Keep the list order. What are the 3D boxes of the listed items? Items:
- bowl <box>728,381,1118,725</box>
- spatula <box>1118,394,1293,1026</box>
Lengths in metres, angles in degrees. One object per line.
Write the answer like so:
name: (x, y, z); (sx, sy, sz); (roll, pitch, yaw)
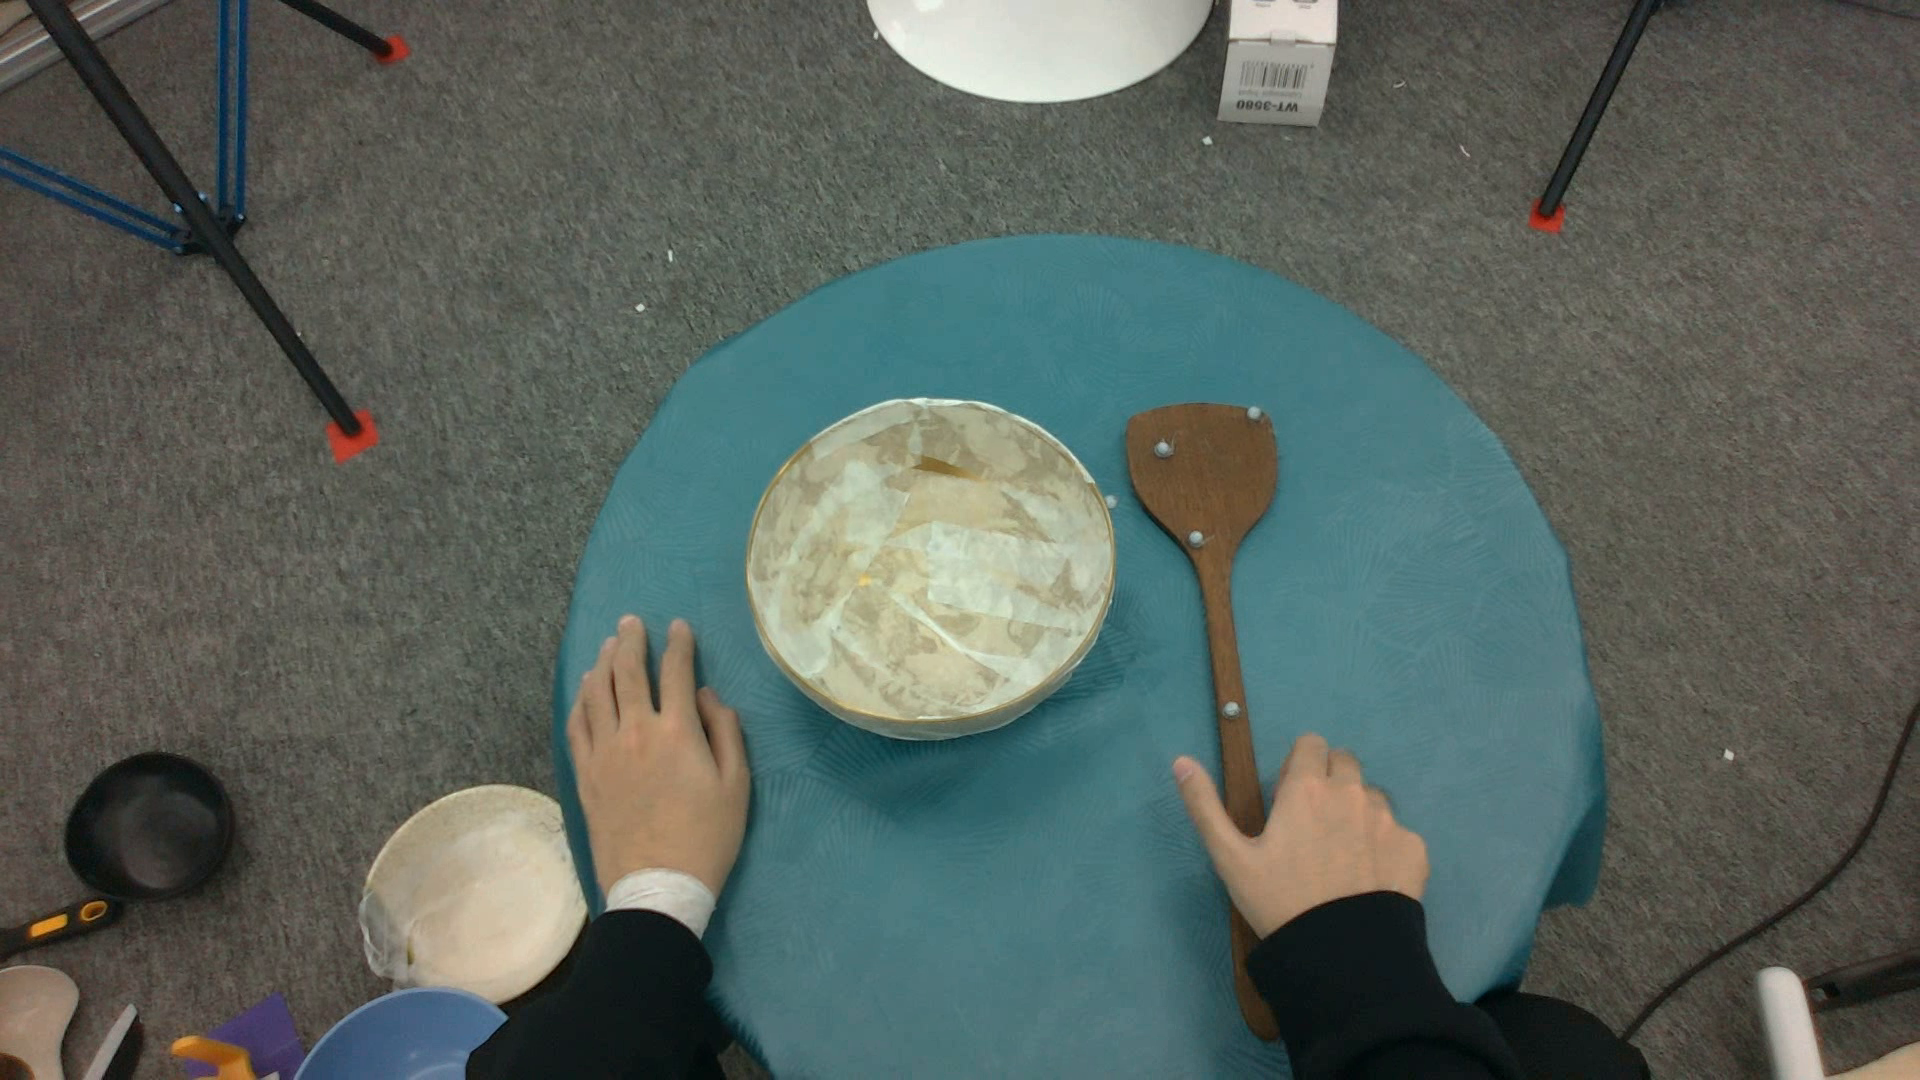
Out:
bowl: (-0.022, 0.021, 0.771); (0.215, 0.094, 0.215); (1, 60, -1)
spatula: (0.150, 0.075, 0.784); (0.096, 0.016, 0.387); (-1, 59, 0)
